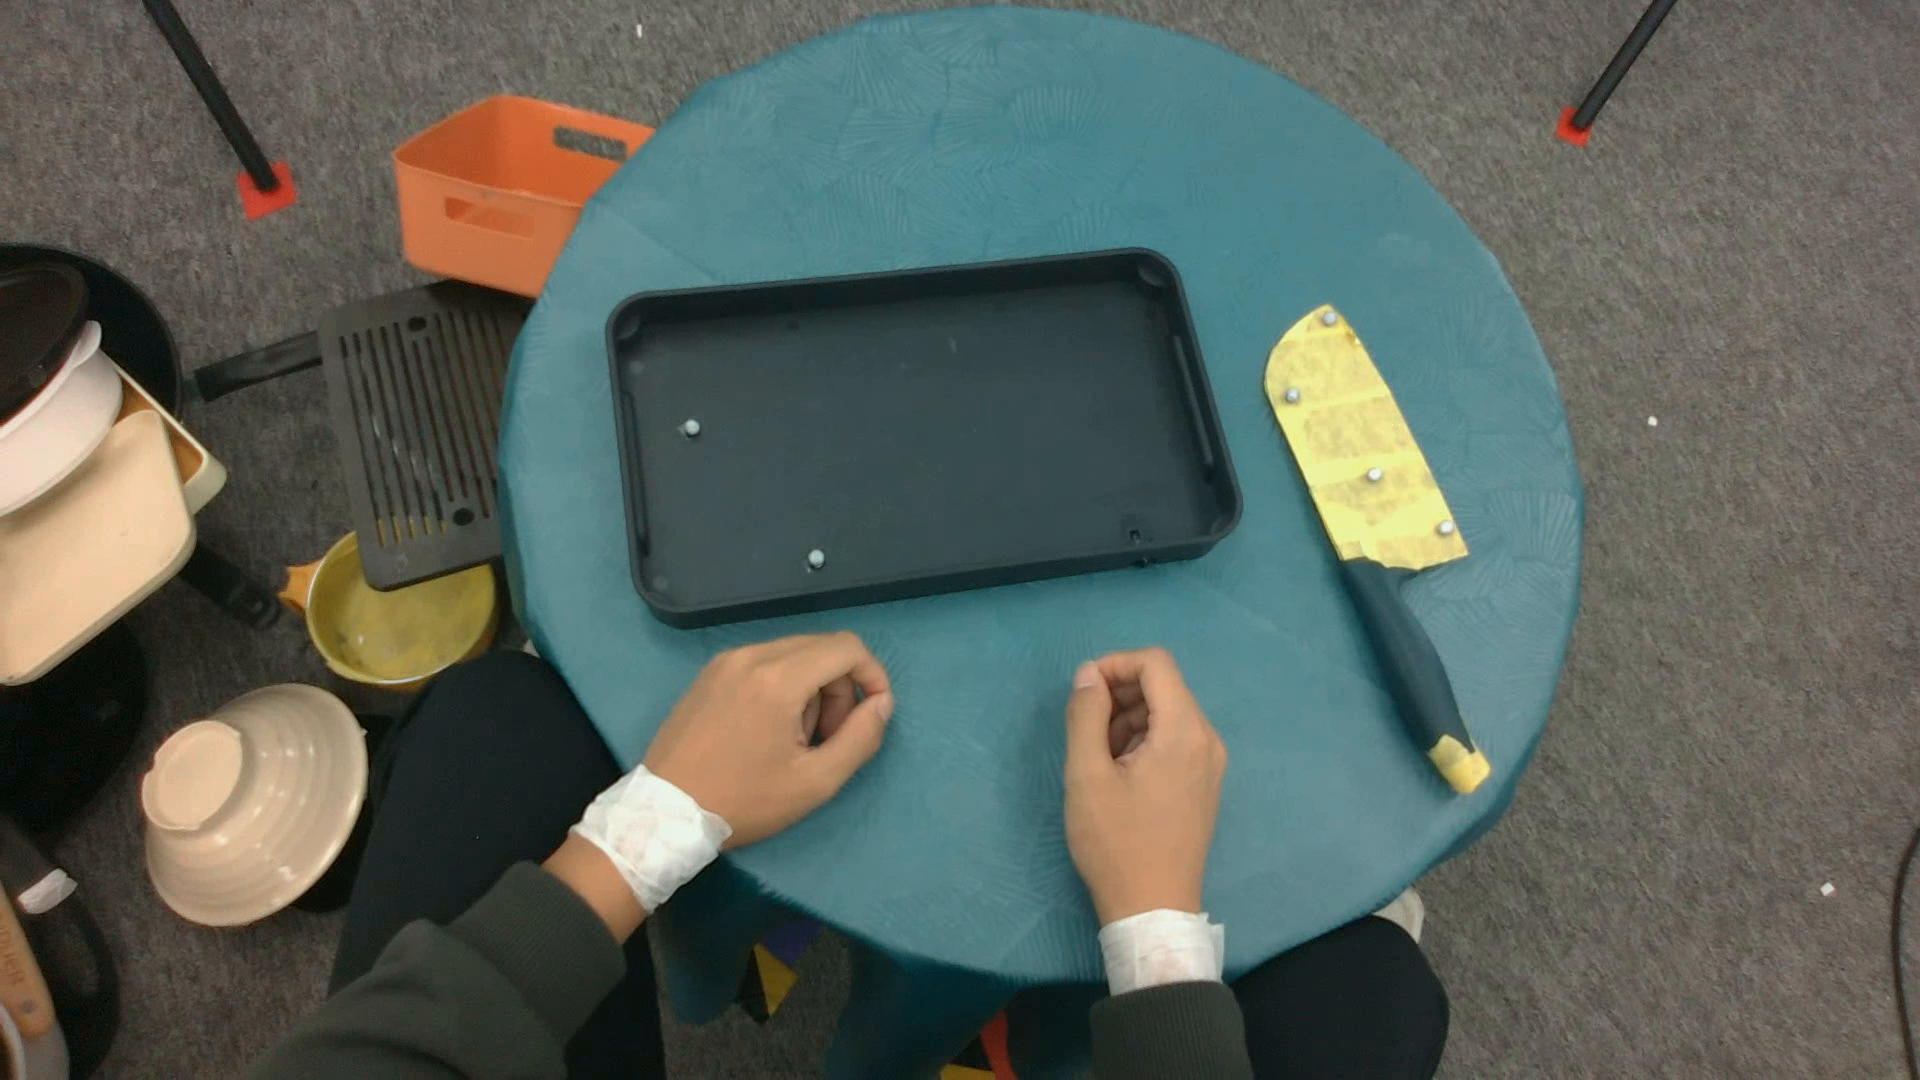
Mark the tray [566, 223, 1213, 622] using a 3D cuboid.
[{"bbox_3d":[-0.037,-0.068,0.736,0.318,0.037,0.185,-9,70,-12],"label":"tray"}]

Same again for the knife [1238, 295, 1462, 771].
[{"bbox_3d":[0.224,-0.015,0.763,0.081,0.027,0.290,-11,69,-11],"label":"knife"}]
